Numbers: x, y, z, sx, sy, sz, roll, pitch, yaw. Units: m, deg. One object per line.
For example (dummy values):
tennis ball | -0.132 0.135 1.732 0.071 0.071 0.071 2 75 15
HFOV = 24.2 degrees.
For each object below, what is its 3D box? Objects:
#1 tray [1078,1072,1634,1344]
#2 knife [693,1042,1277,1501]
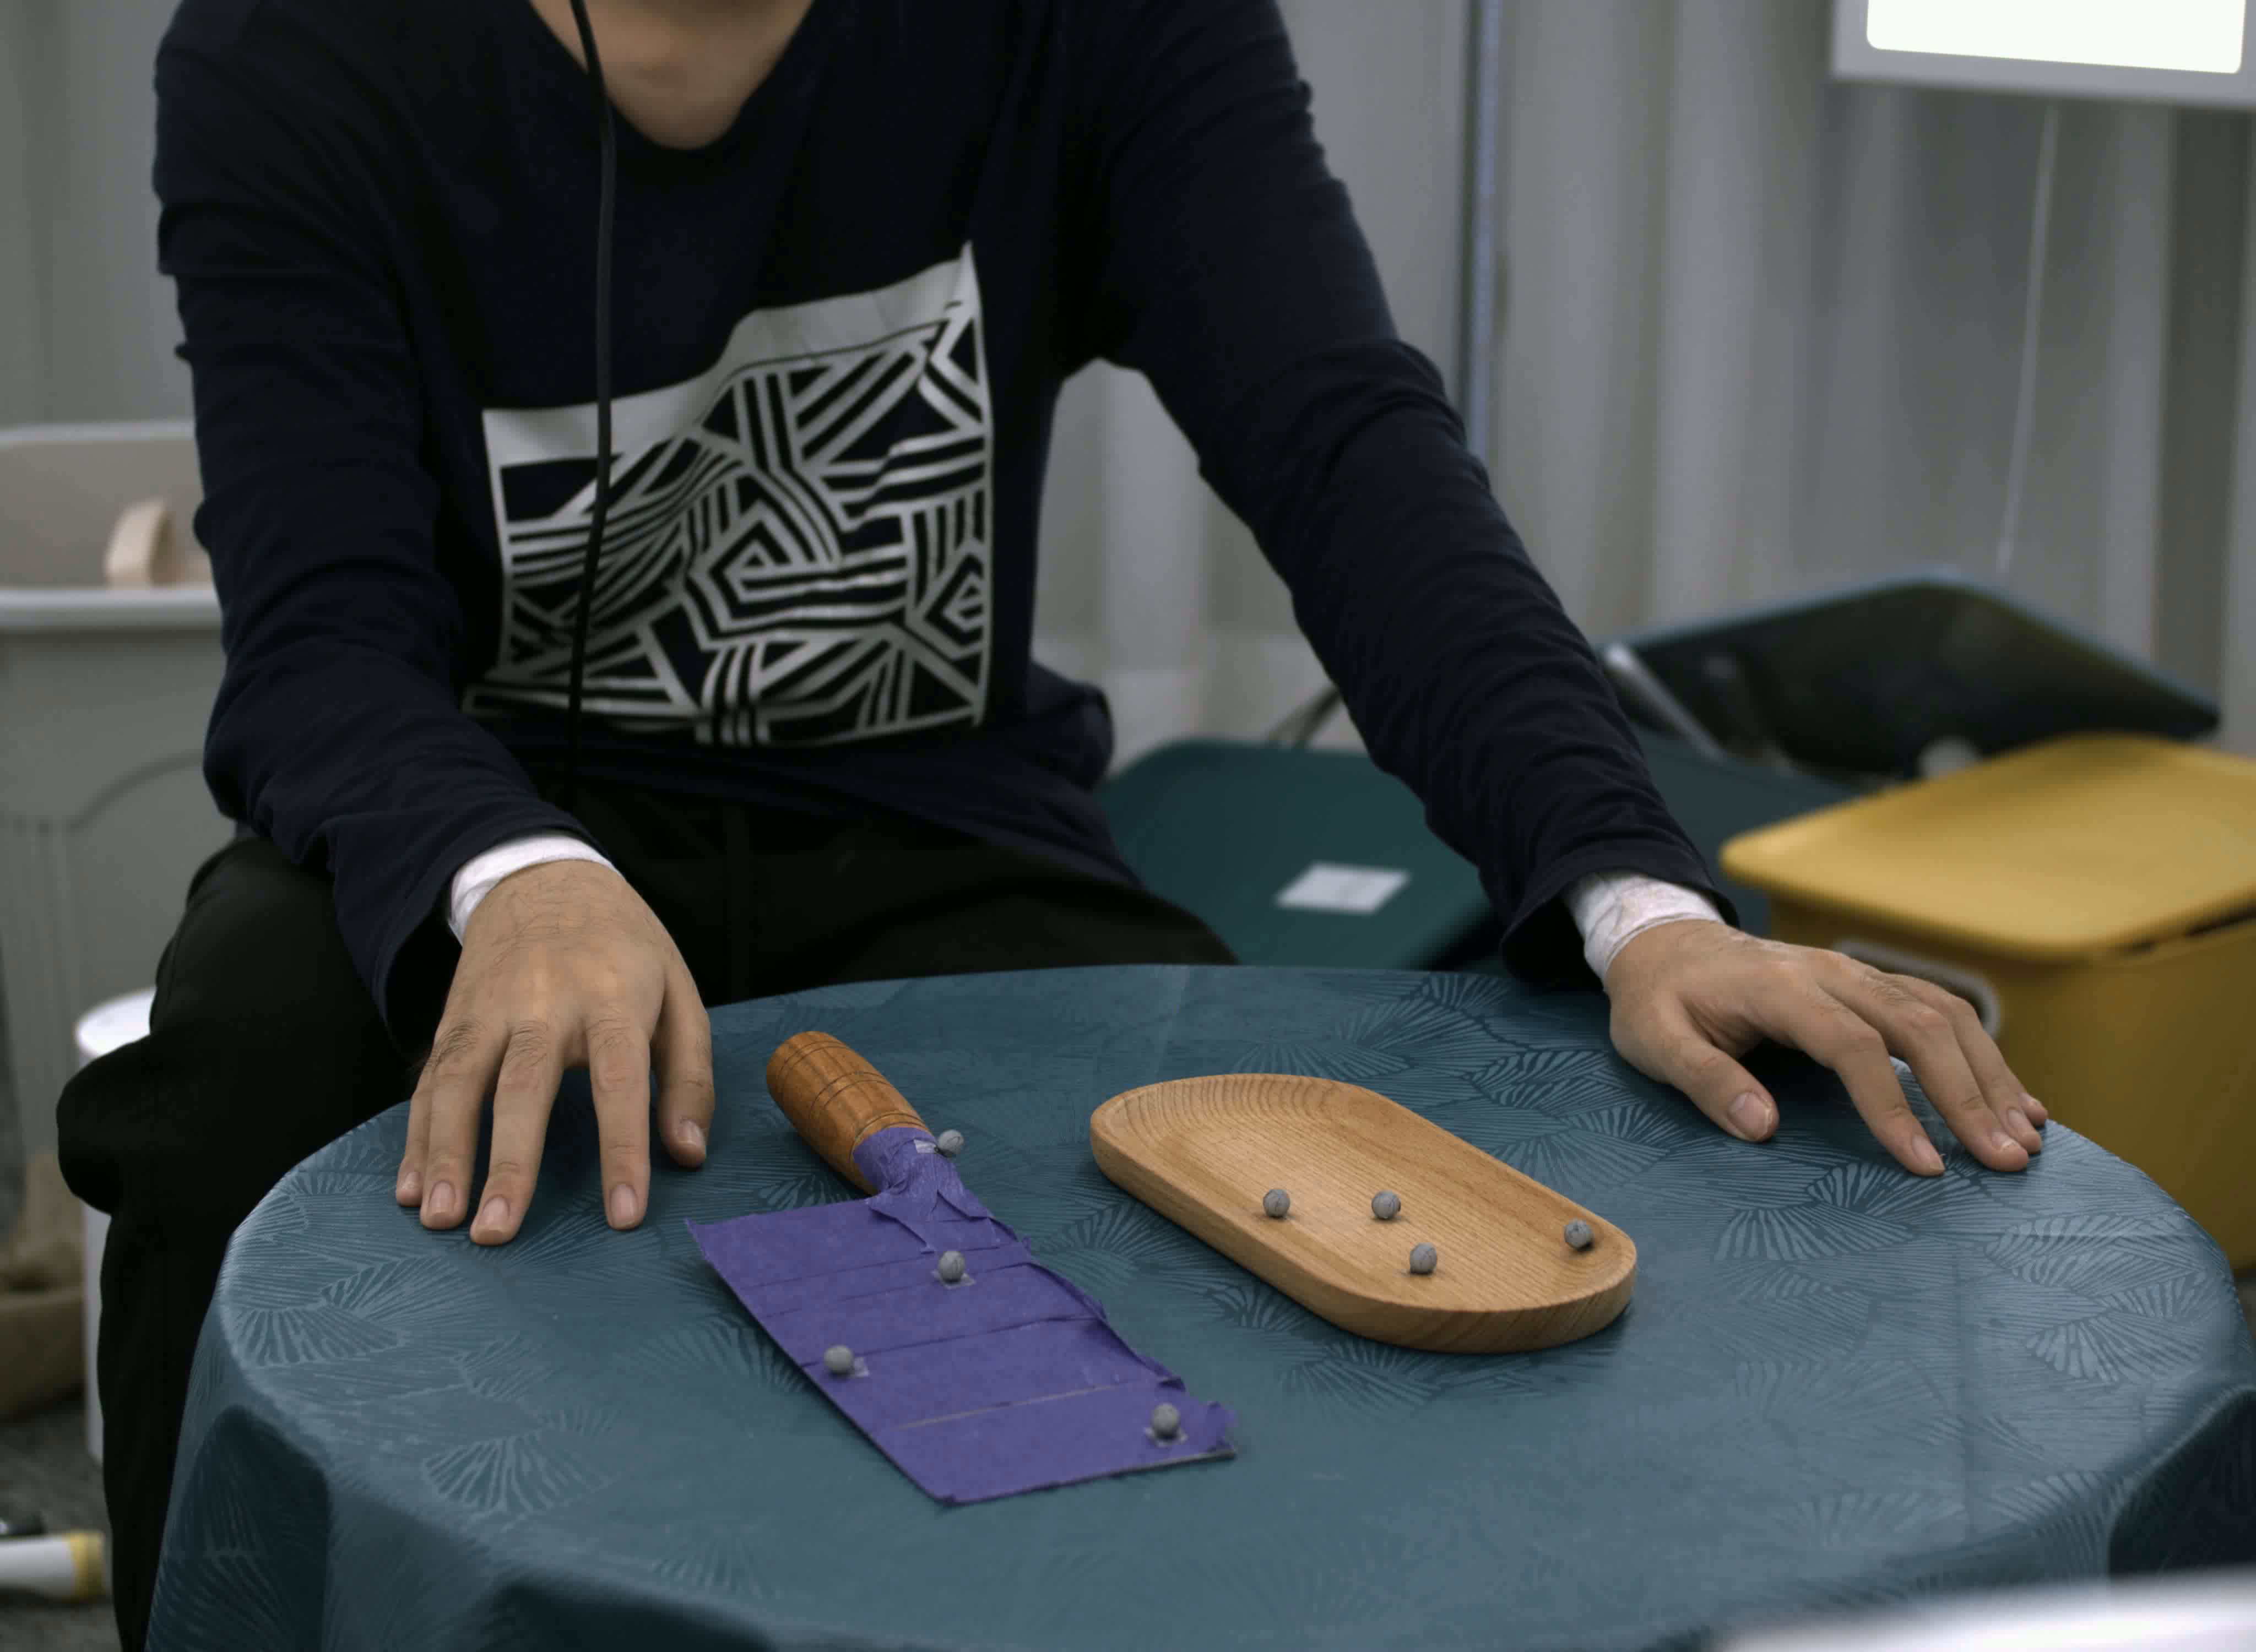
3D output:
tray | 0.066 0.113 1.593 0.102 0.020 0.228 -7 15 -28
knife | -0.069 0.124 1.527 0.104 0.032 0.311 -6 17 -24
